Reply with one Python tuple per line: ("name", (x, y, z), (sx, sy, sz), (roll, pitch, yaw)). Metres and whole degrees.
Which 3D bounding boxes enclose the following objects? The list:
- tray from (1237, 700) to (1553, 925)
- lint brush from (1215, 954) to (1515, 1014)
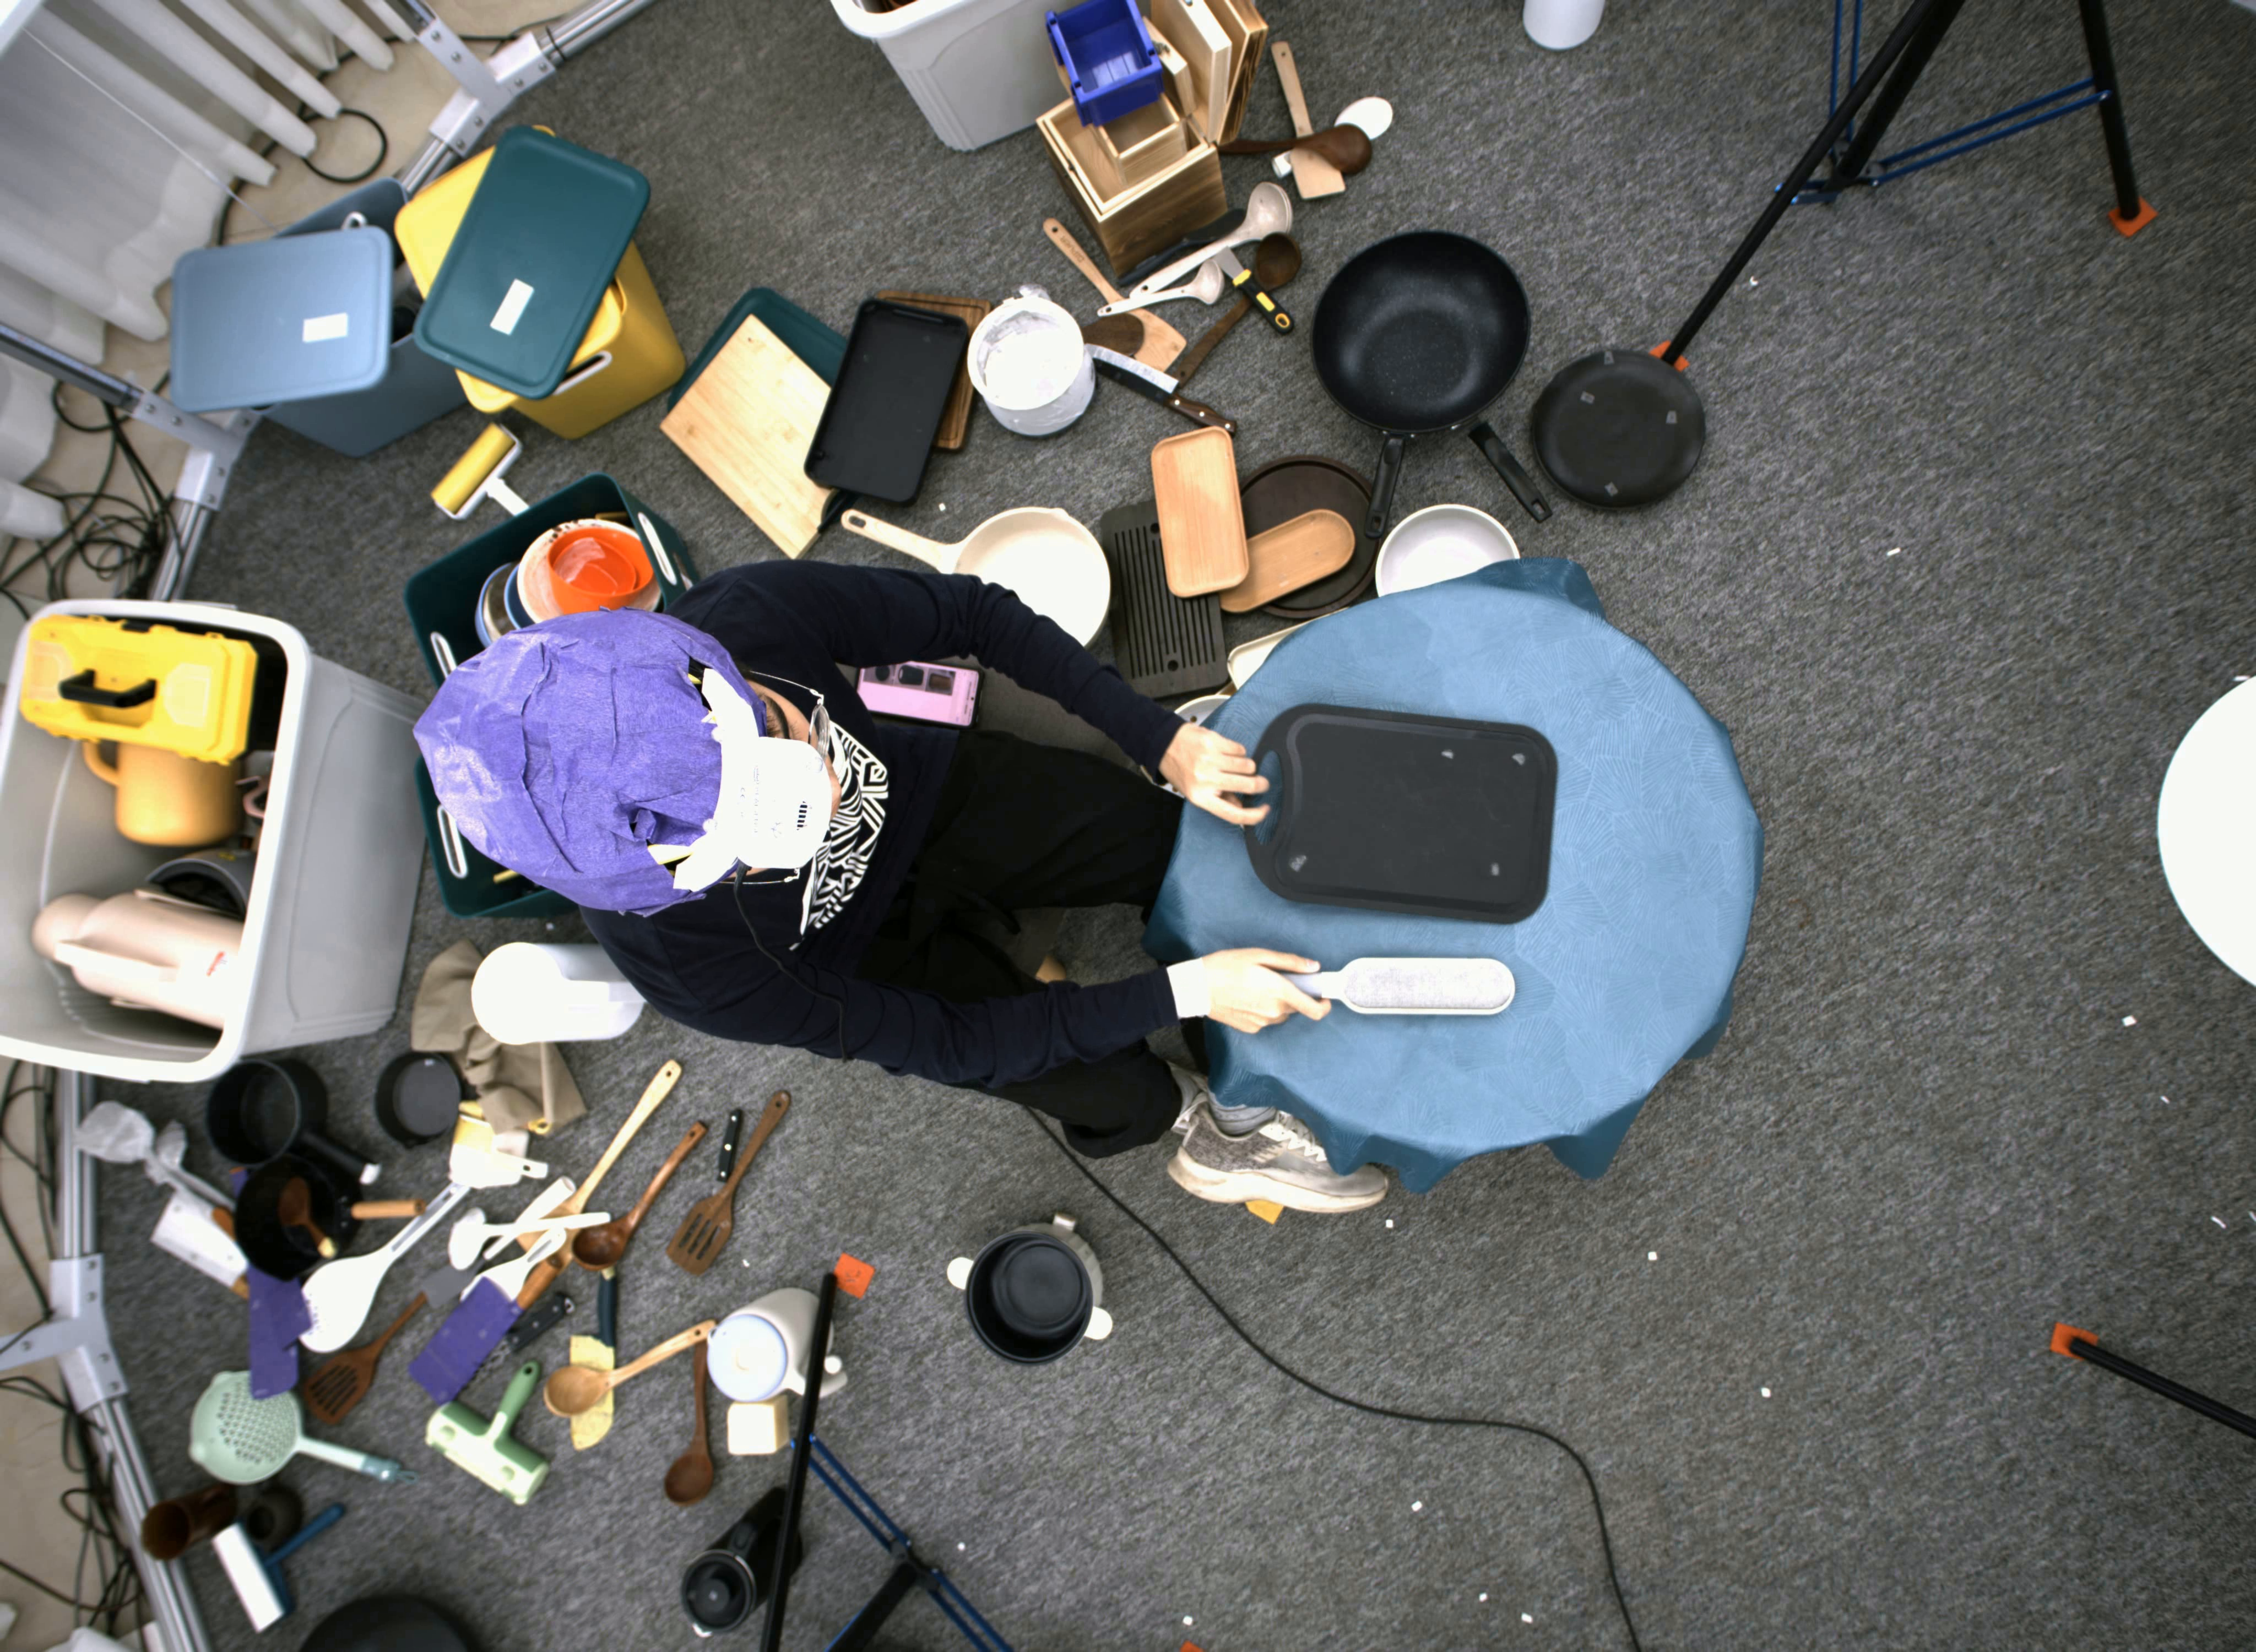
("tray", (0.276, -0.017, 1.434), (0.326, 0.010, 0.210), (7, 88, 1))
("lint brush", (0.245, 0.161, 1.431), (0.310, 0.021, 0.059), (0, 82, 5))
